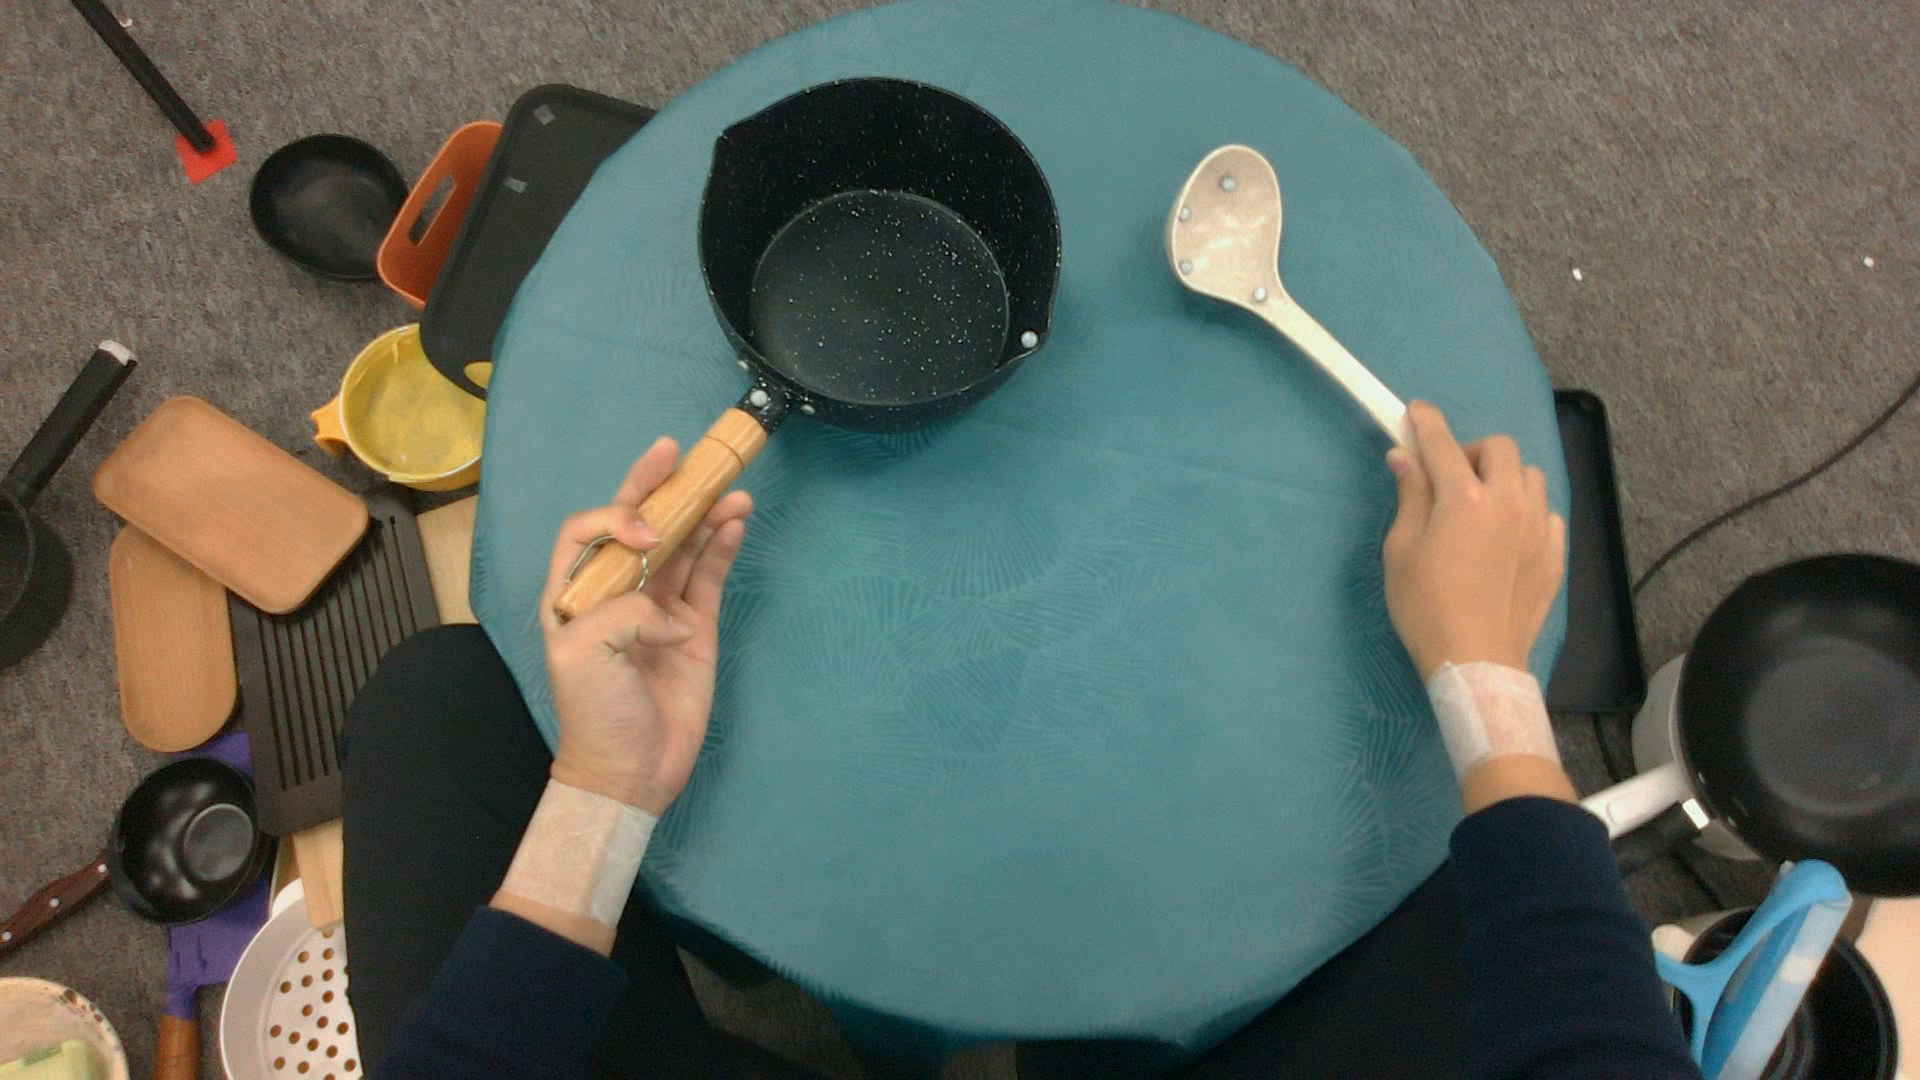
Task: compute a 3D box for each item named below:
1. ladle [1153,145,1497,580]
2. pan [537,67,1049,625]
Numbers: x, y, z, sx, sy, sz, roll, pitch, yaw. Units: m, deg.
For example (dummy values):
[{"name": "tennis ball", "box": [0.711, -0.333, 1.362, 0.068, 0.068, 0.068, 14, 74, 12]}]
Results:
[{"name": "ladle", "box": [0.210, -0.097, 0.747, 0.090, 0.069, 0.275, -33, 76, -30]}, {"name": "pan", "box": [-0.090, -0.087, 0.703, 0.207, 0.108, 0.344, 32, 72, 4]}]
